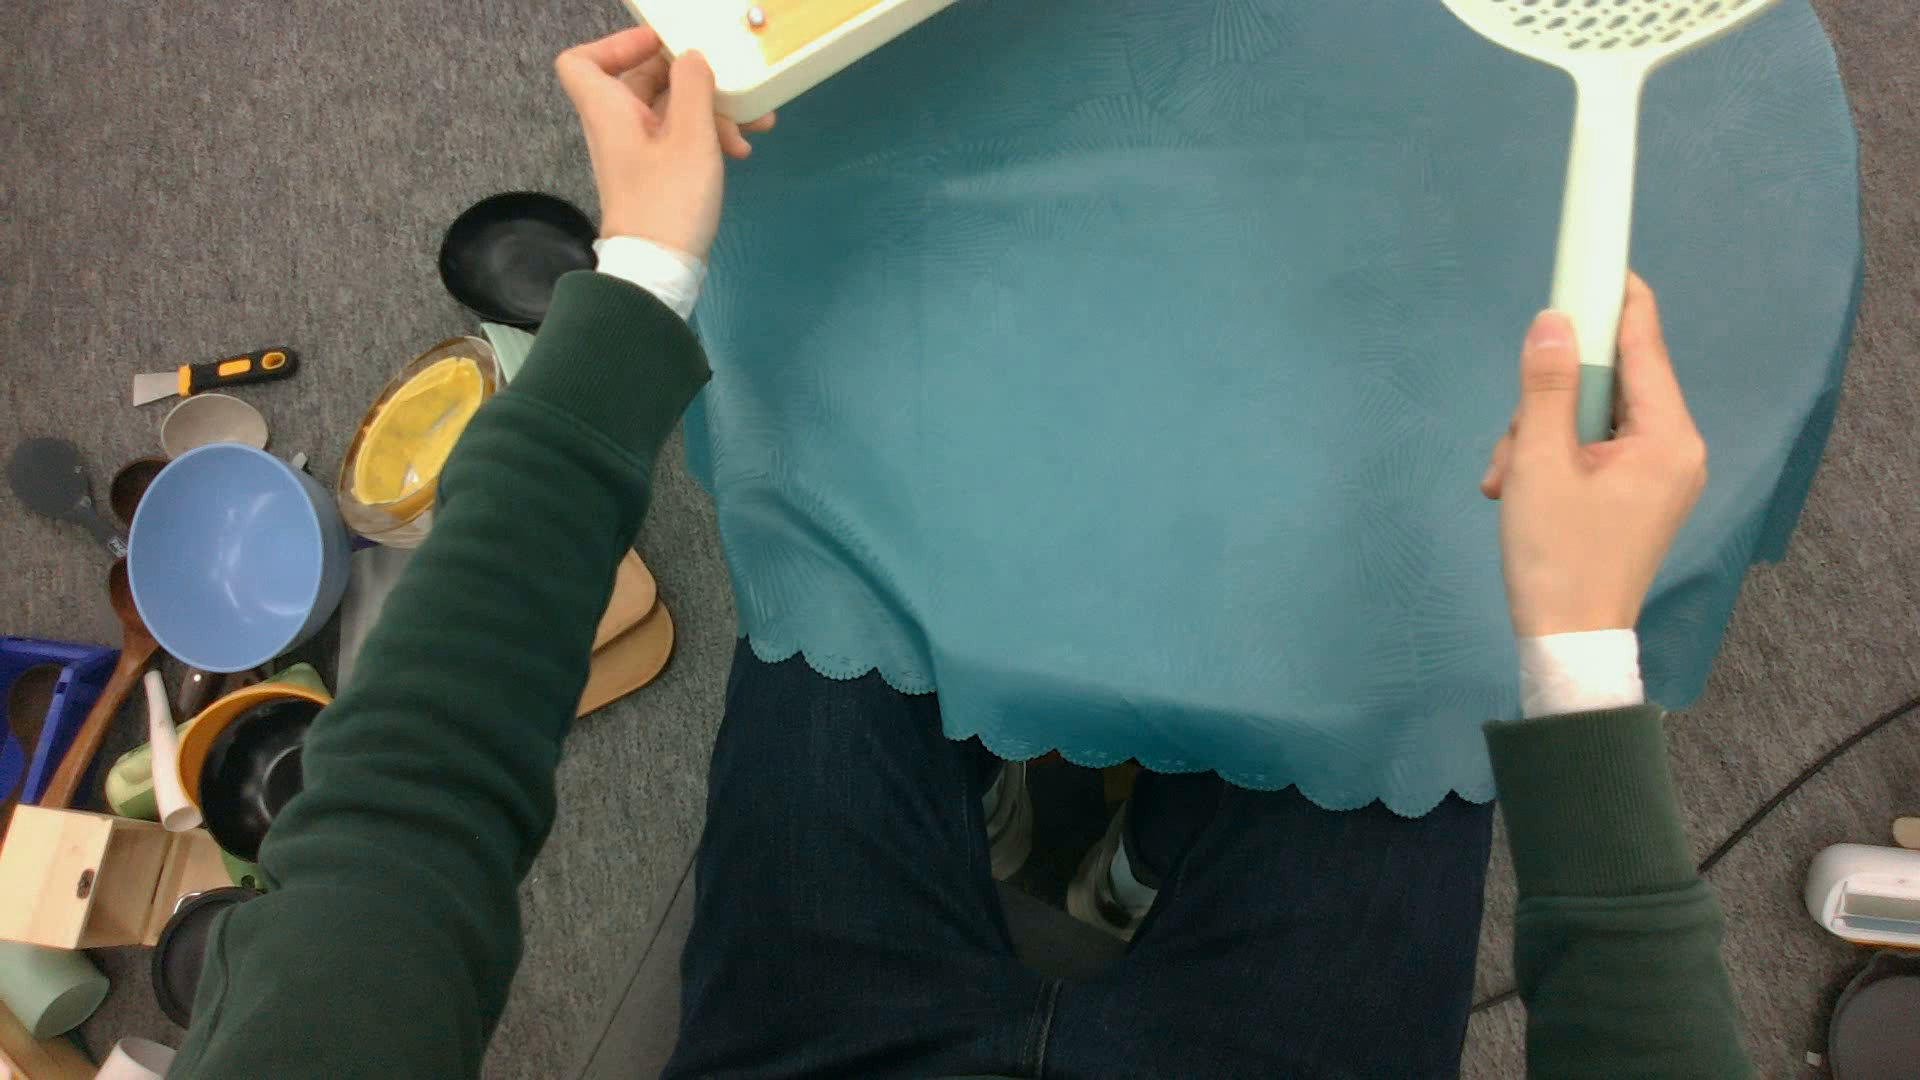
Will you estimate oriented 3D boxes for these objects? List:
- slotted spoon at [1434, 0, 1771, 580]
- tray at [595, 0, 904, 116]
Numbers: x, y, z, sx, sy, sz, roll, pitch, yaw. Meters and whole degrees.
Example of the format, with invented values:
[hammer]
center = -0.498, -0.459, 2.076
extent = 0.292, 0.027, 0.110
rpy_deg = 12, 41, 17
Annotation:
[slotted spoon]
center = 0.245, -0.166, 0.527
extent = 0.169, 0.075, 0.359
rpy_deg = 7, 80, 38
[tray]
center = -0.052, -0.341, 0.649
extent = 0.301, 0.027, 0.192
rpy_deg = -35, 76, -10
